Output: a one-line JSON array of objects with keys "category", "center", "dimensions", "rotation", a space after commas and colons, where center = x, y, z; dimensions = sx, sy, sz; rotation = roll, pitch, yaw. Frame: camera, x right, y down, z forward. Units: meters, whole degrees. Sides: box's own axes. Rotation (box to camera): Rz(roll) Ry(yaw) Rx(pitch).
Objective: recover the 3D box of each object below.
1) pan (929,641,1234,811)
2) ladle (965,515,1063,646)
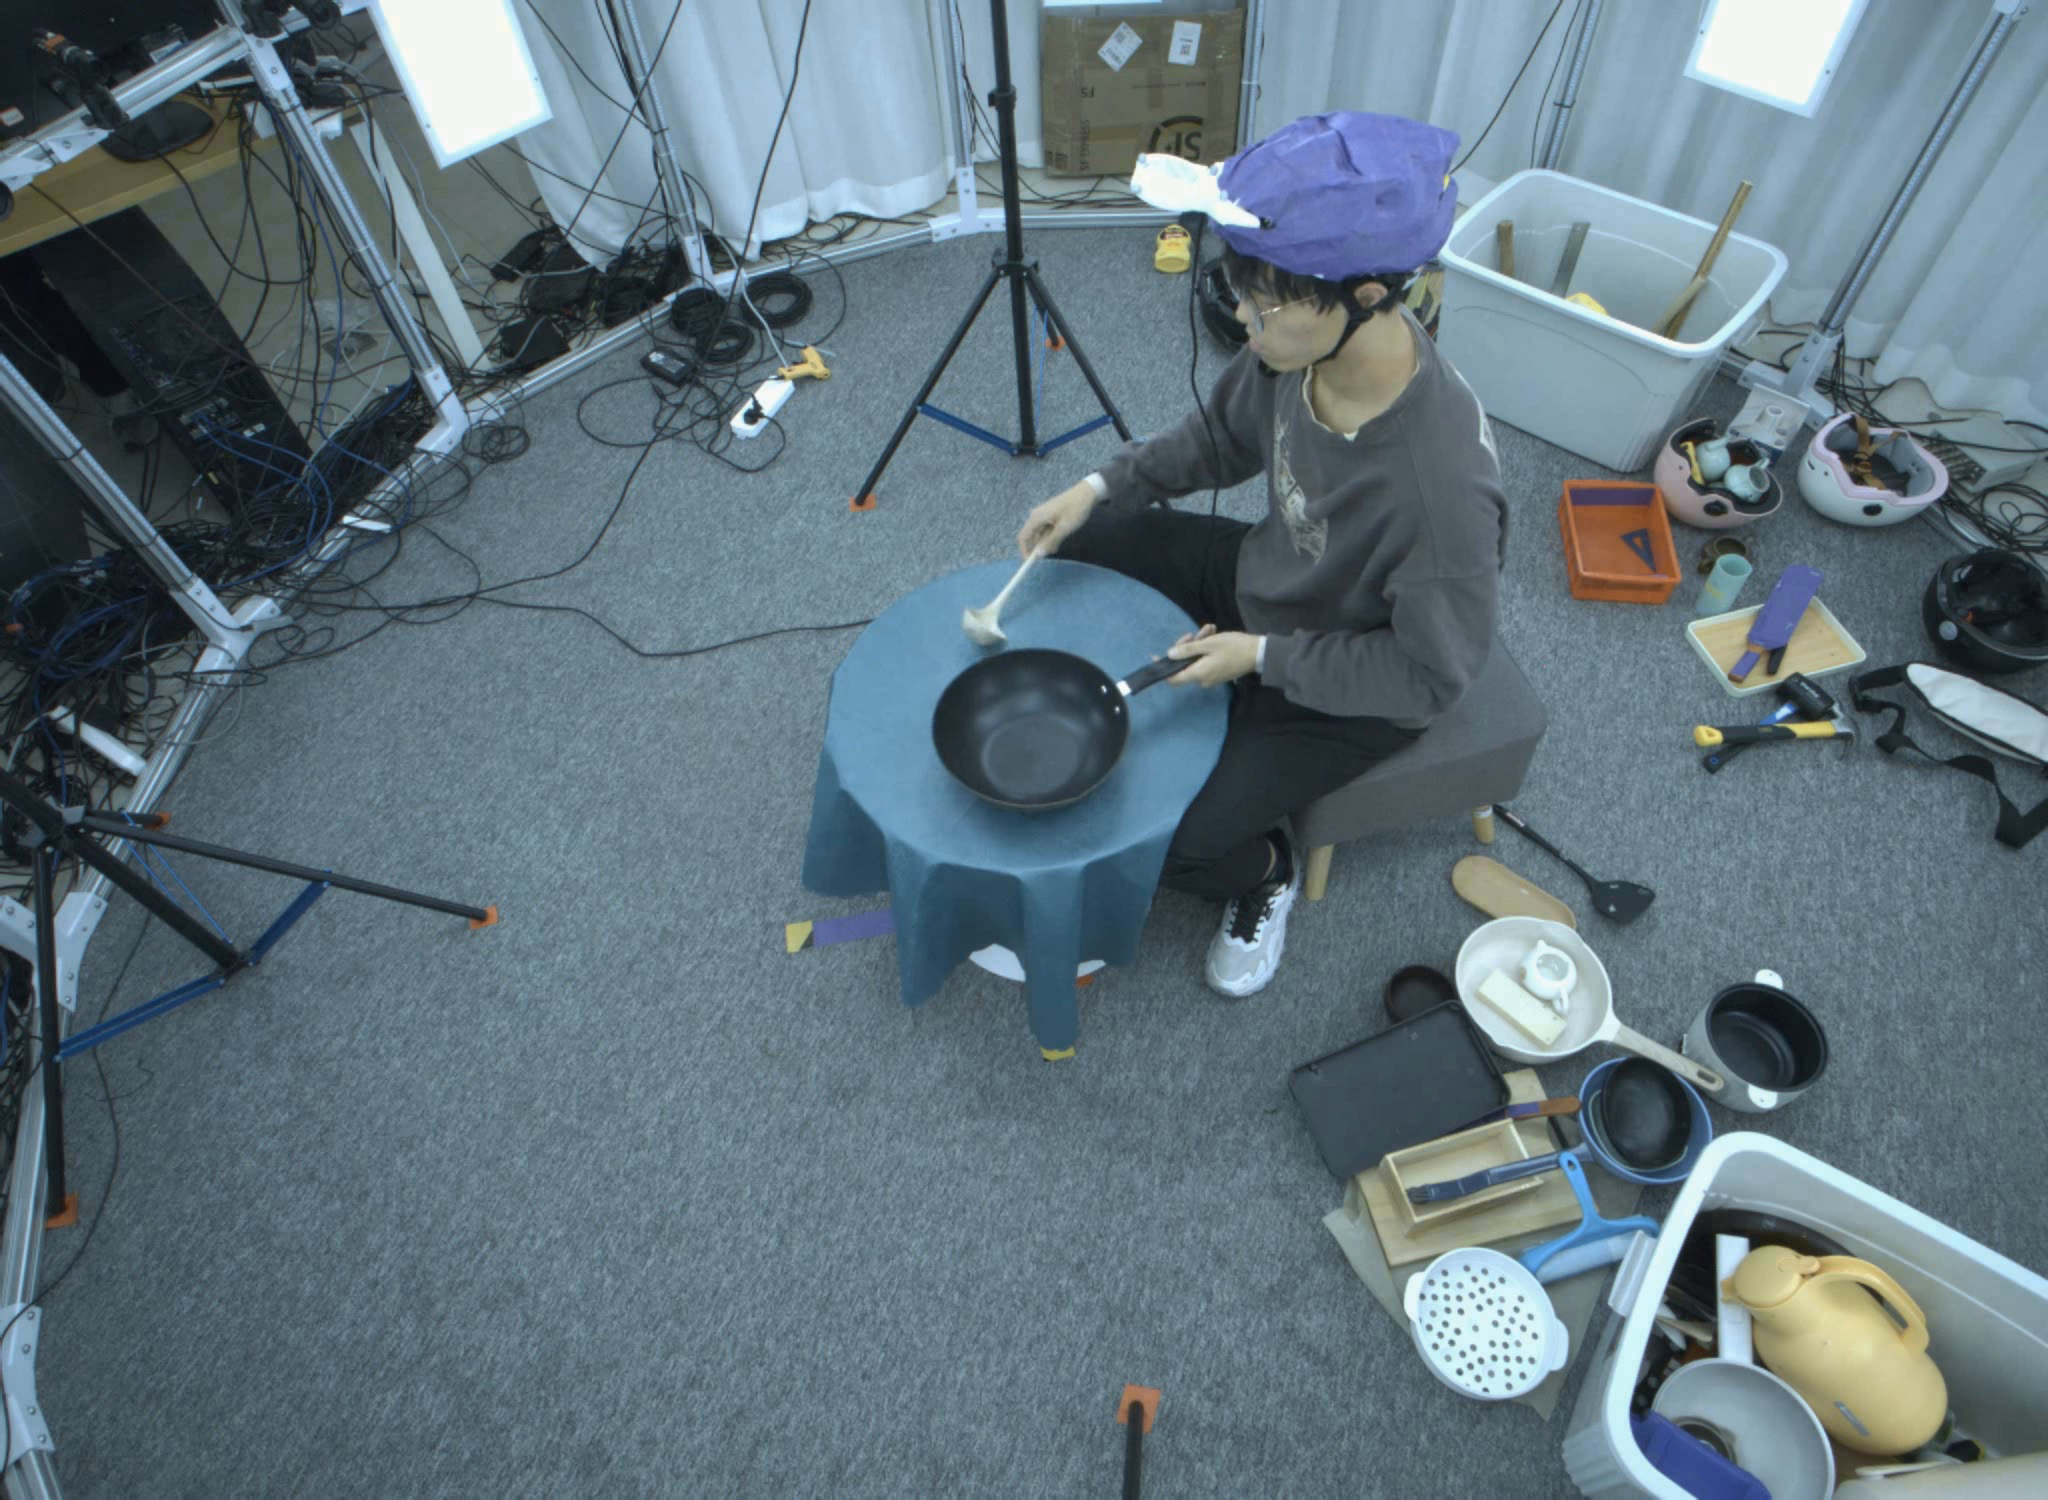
[{"category": "pan", "center": [0.091, -0.052, 1.767], "dimensions": [0.467, 0.088, 0.283], "rotation": [-22, 56, -15]}, {"category": "ladle", "center": [-0.004, -0.274, 1.895], "dimensions": [0.072, 0.072, 0.254], "rotation": [34, 78, -6]}]
